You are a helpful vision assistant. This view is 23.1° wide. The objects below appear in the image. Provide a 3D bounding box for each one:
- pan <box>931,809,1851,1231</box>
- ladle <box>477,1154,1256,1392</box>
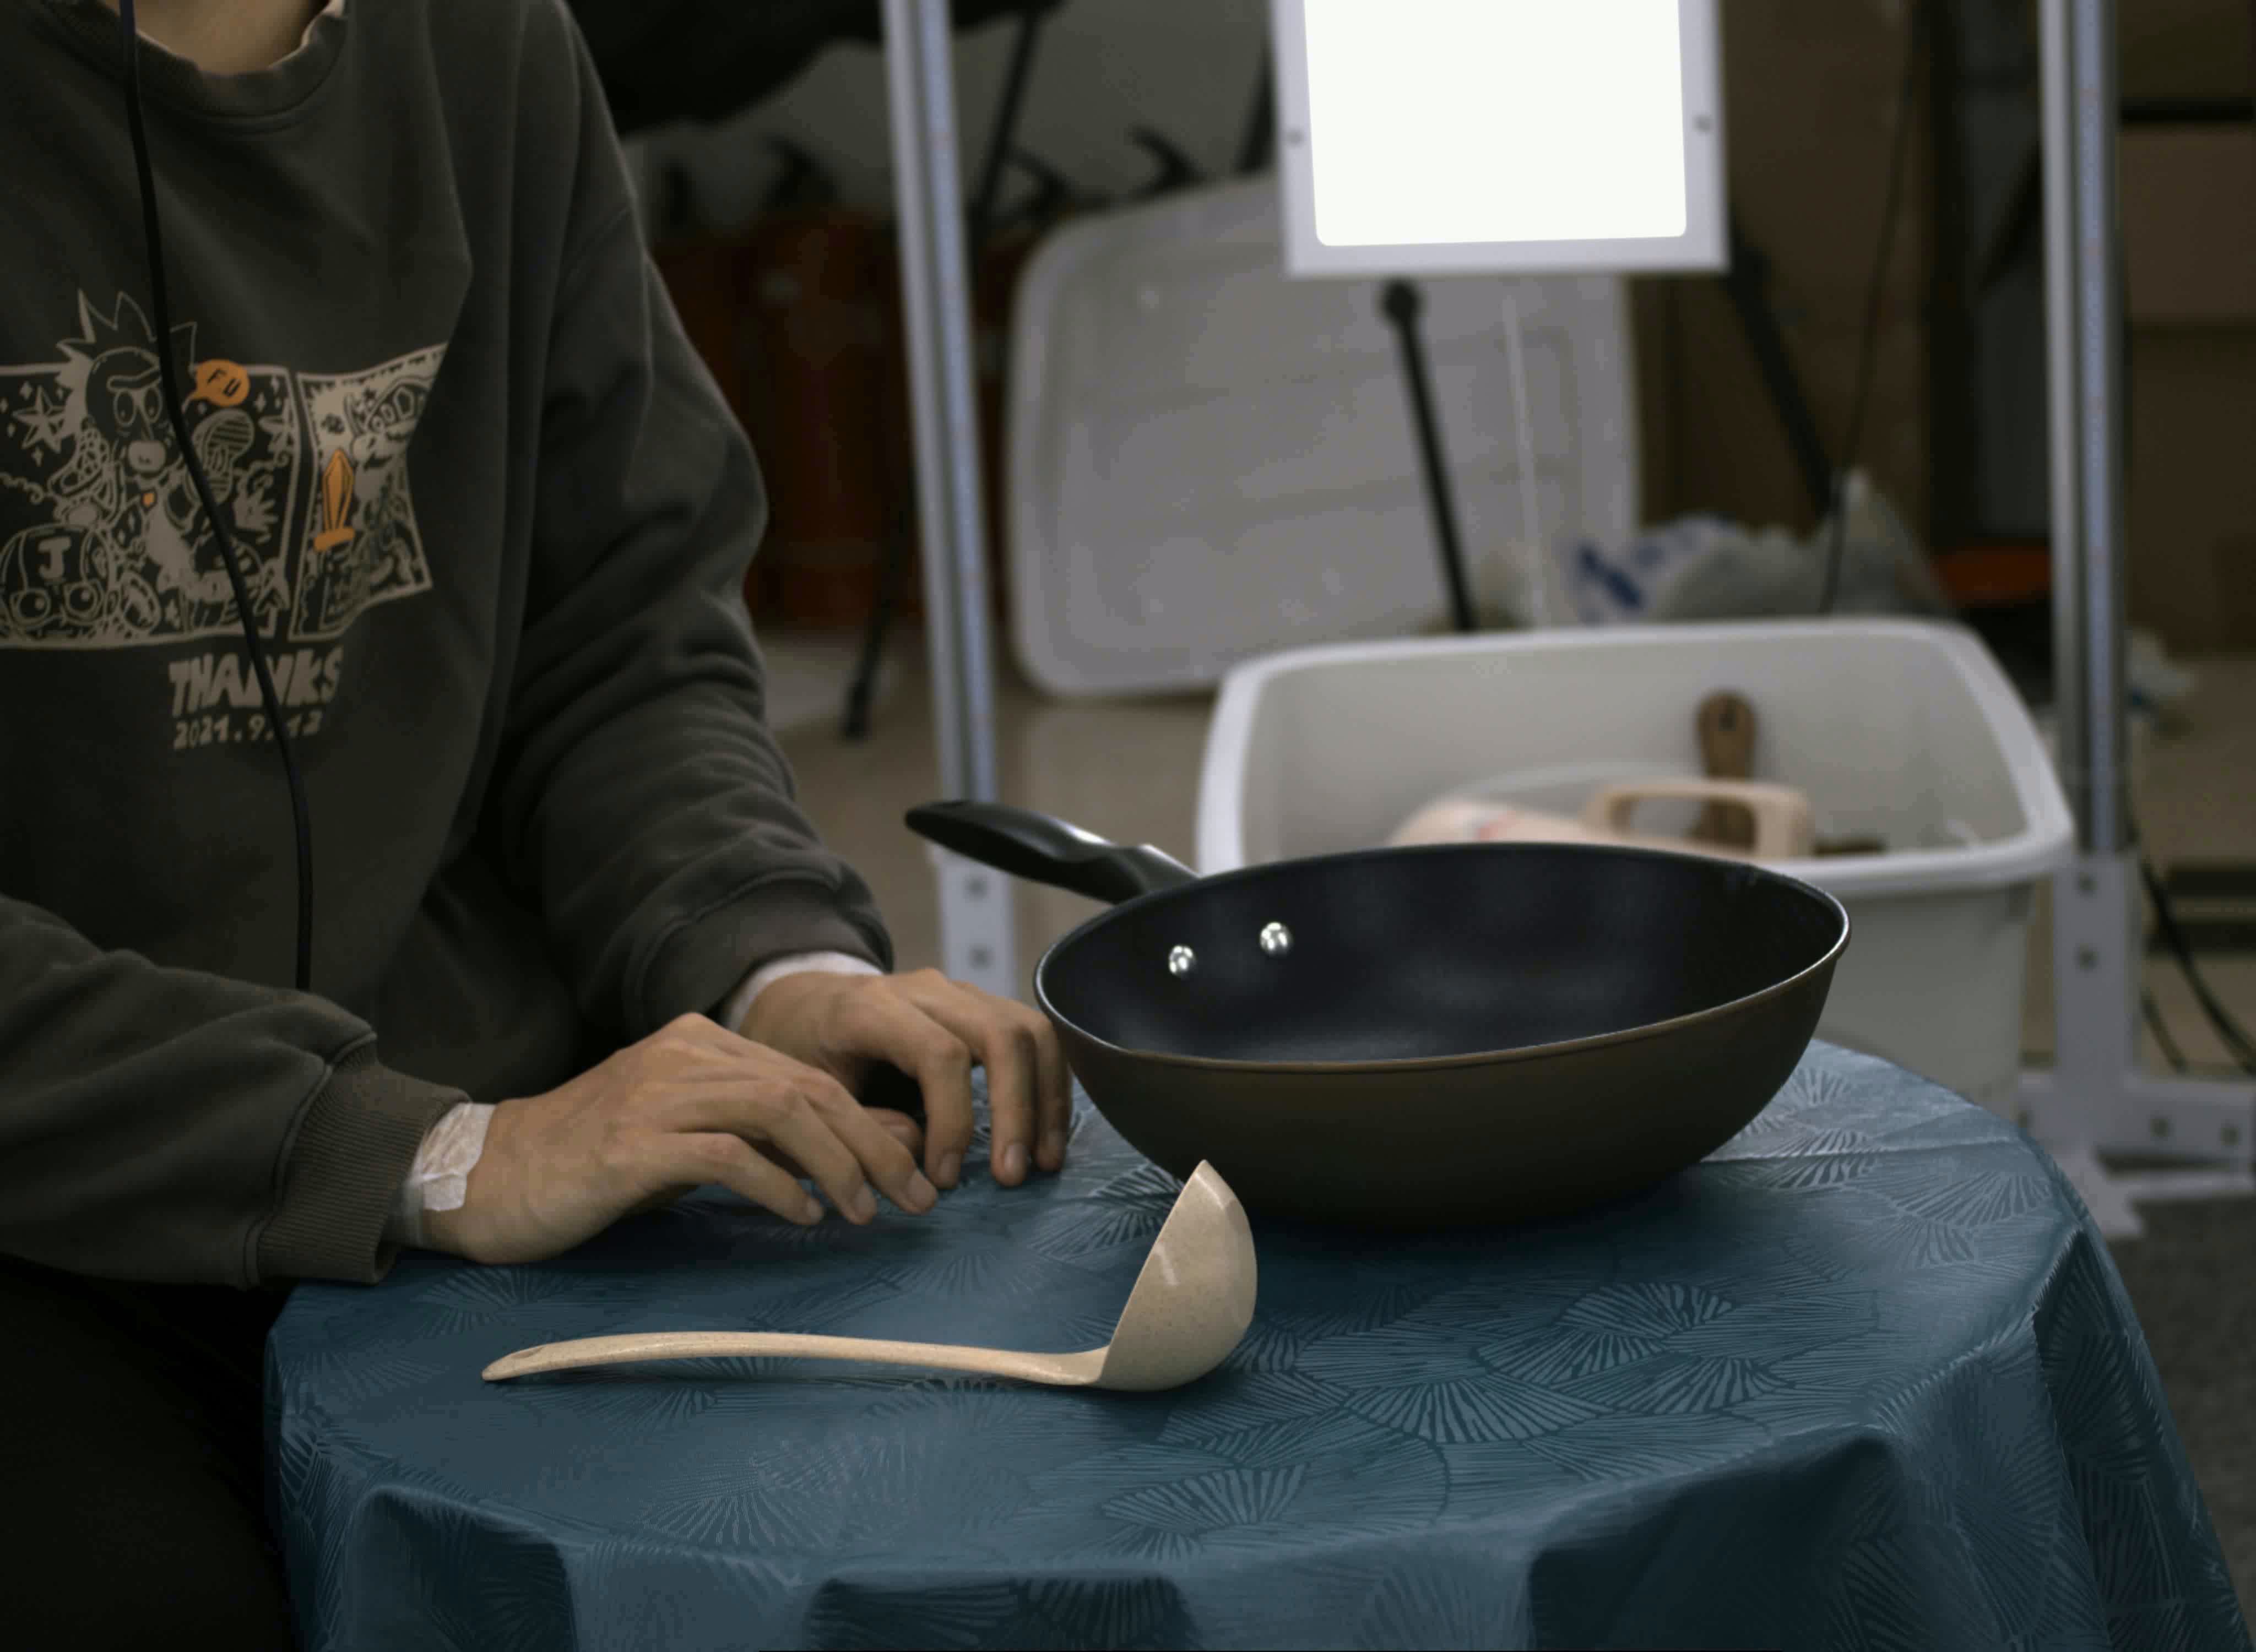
[{"bbox_3d":[0.057,0.064,1.957,0.281,0.087,0.472,-14,15,-31],"label":"pan"},{"bbox_3d":[-0.087,0.140,1.721,0.256,0.073,0.071,-2,20,14],"label":"ladle"}]
